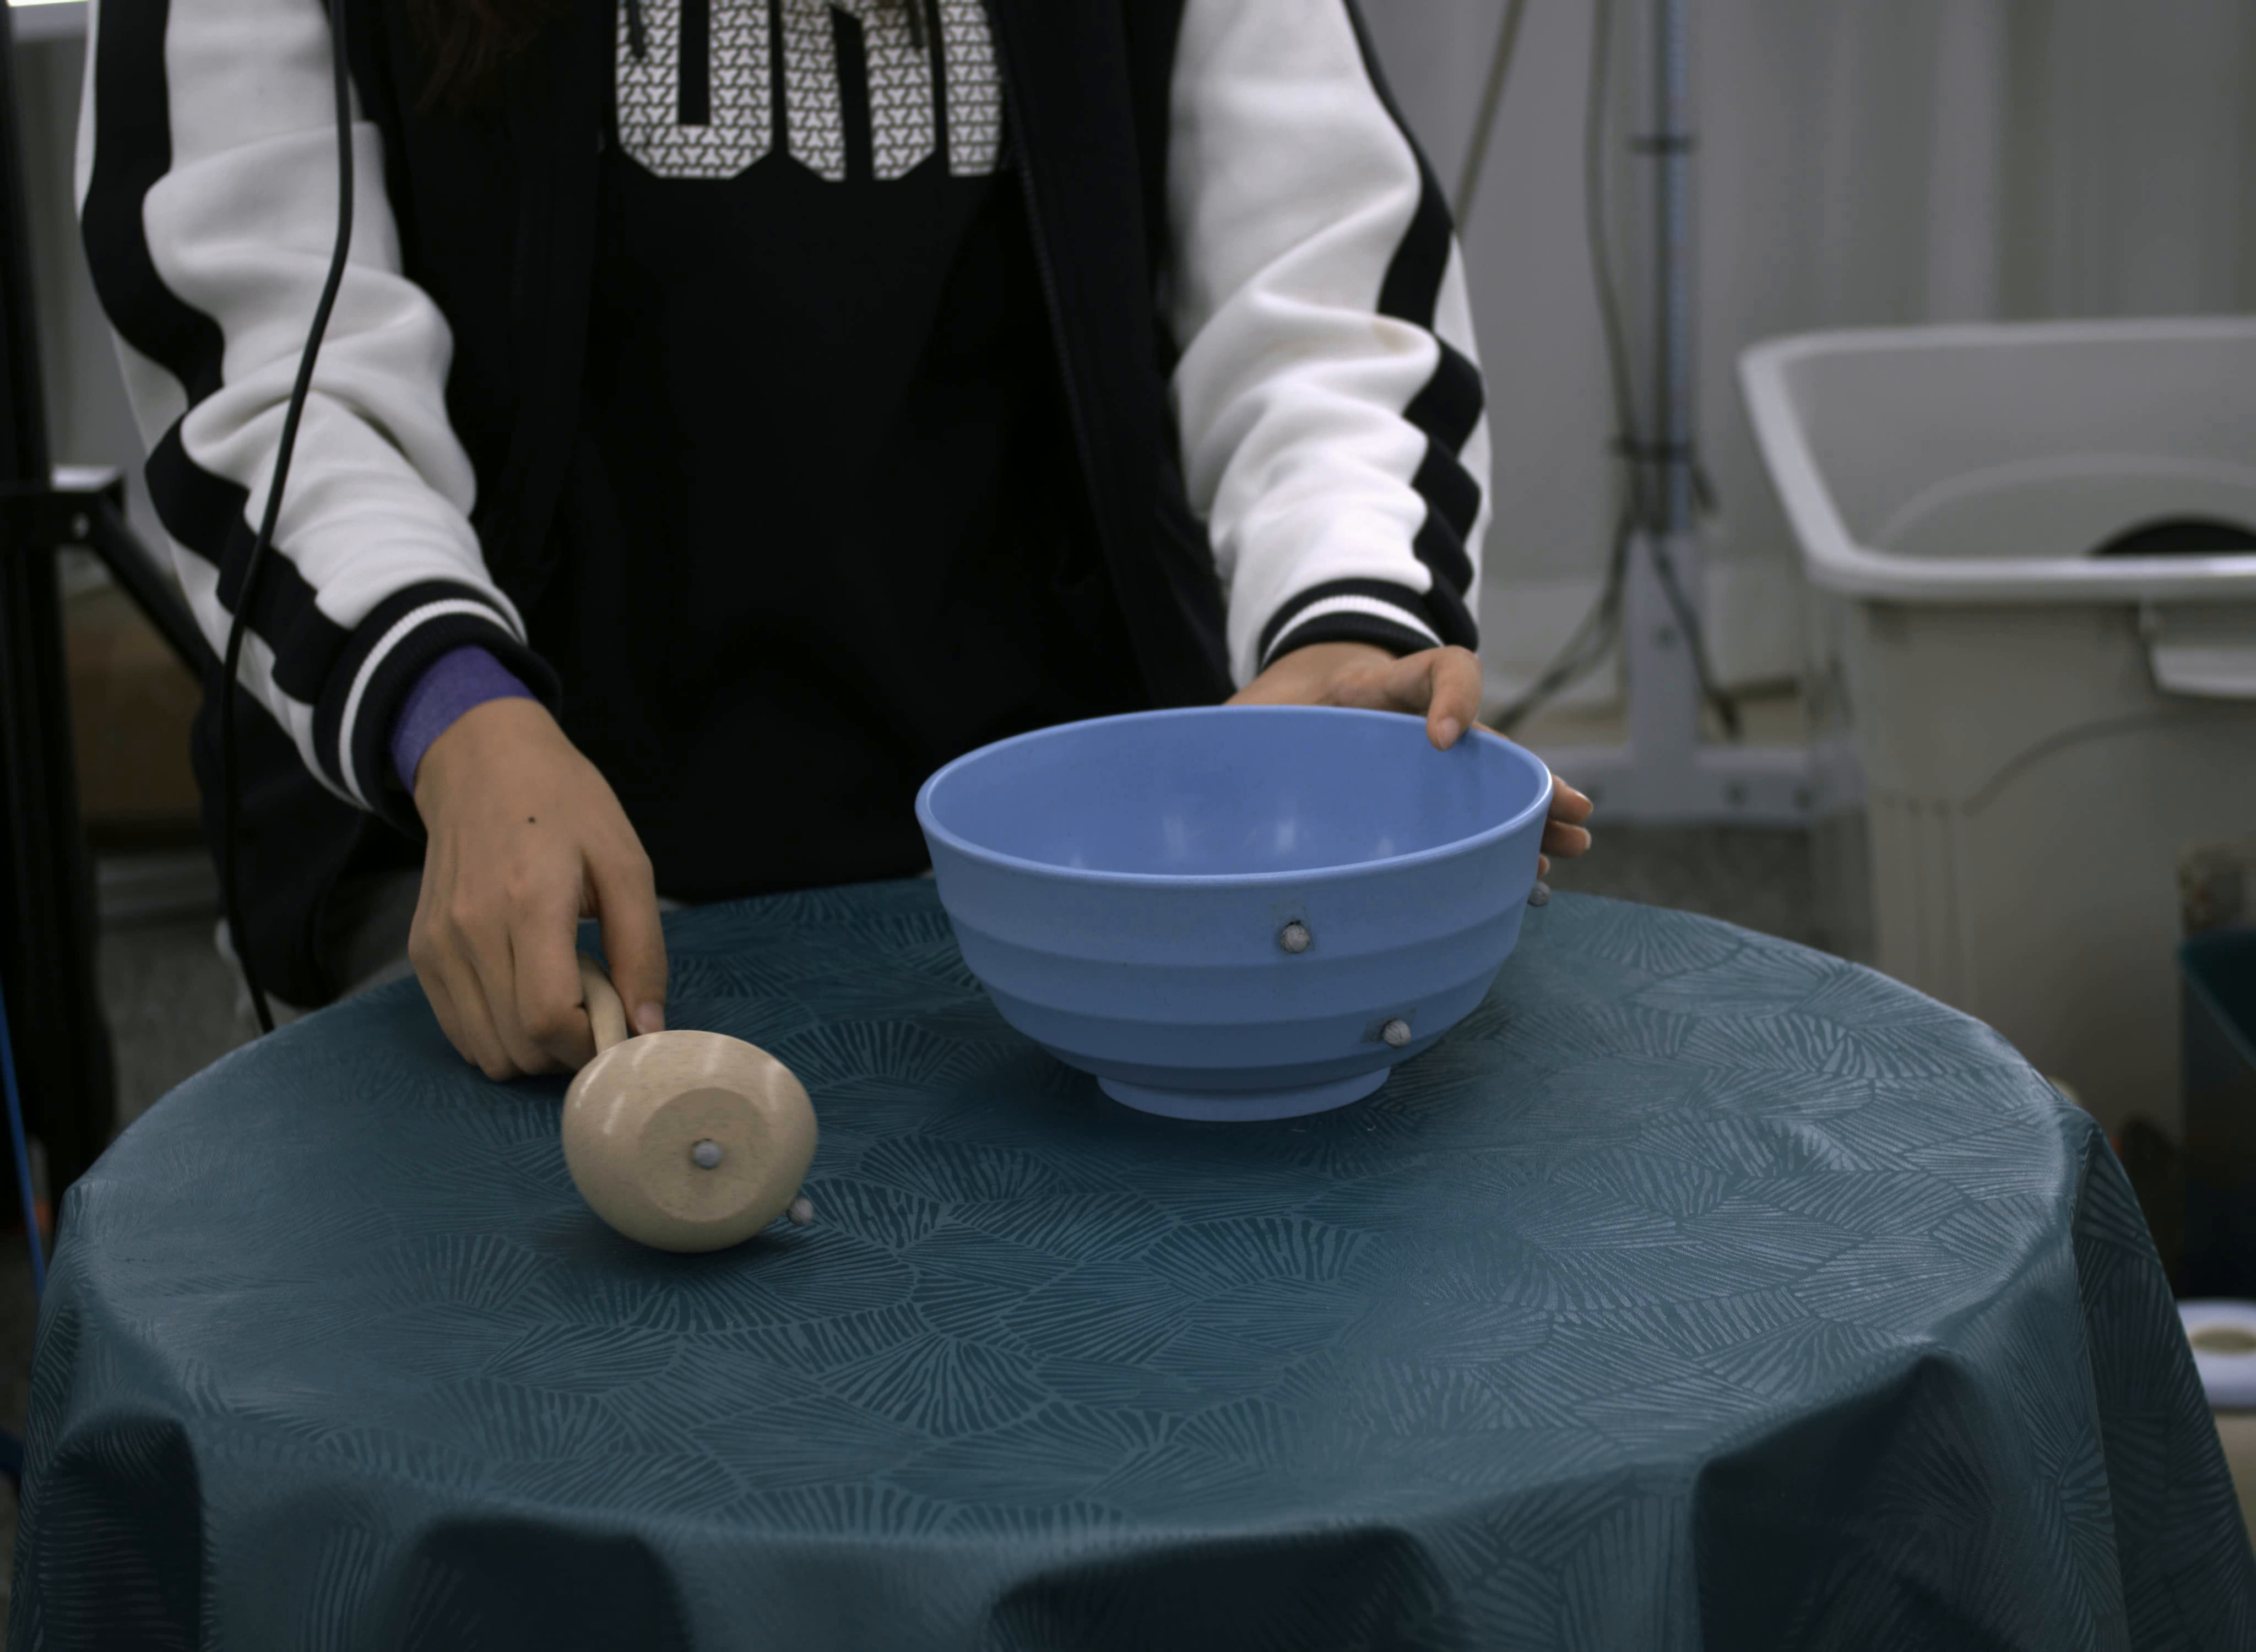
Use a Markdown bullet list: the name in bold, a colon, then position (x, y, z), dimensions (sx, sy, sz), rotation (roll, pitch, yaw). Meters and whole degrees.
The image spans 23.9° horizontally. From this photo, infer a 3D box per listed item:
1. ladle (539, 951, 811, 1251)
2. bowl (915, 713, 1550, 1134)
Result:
- **ladle**: position (-0.144, 0.055, 1.612), dimensions (0.071, 0.073, 0.257), rotation (26, 12, -18)
- **bowl**: position (0.035, 0.036, 1.645), dimensions (0.195, 0.095, 0.197), rotation (-4, 16, 0)
